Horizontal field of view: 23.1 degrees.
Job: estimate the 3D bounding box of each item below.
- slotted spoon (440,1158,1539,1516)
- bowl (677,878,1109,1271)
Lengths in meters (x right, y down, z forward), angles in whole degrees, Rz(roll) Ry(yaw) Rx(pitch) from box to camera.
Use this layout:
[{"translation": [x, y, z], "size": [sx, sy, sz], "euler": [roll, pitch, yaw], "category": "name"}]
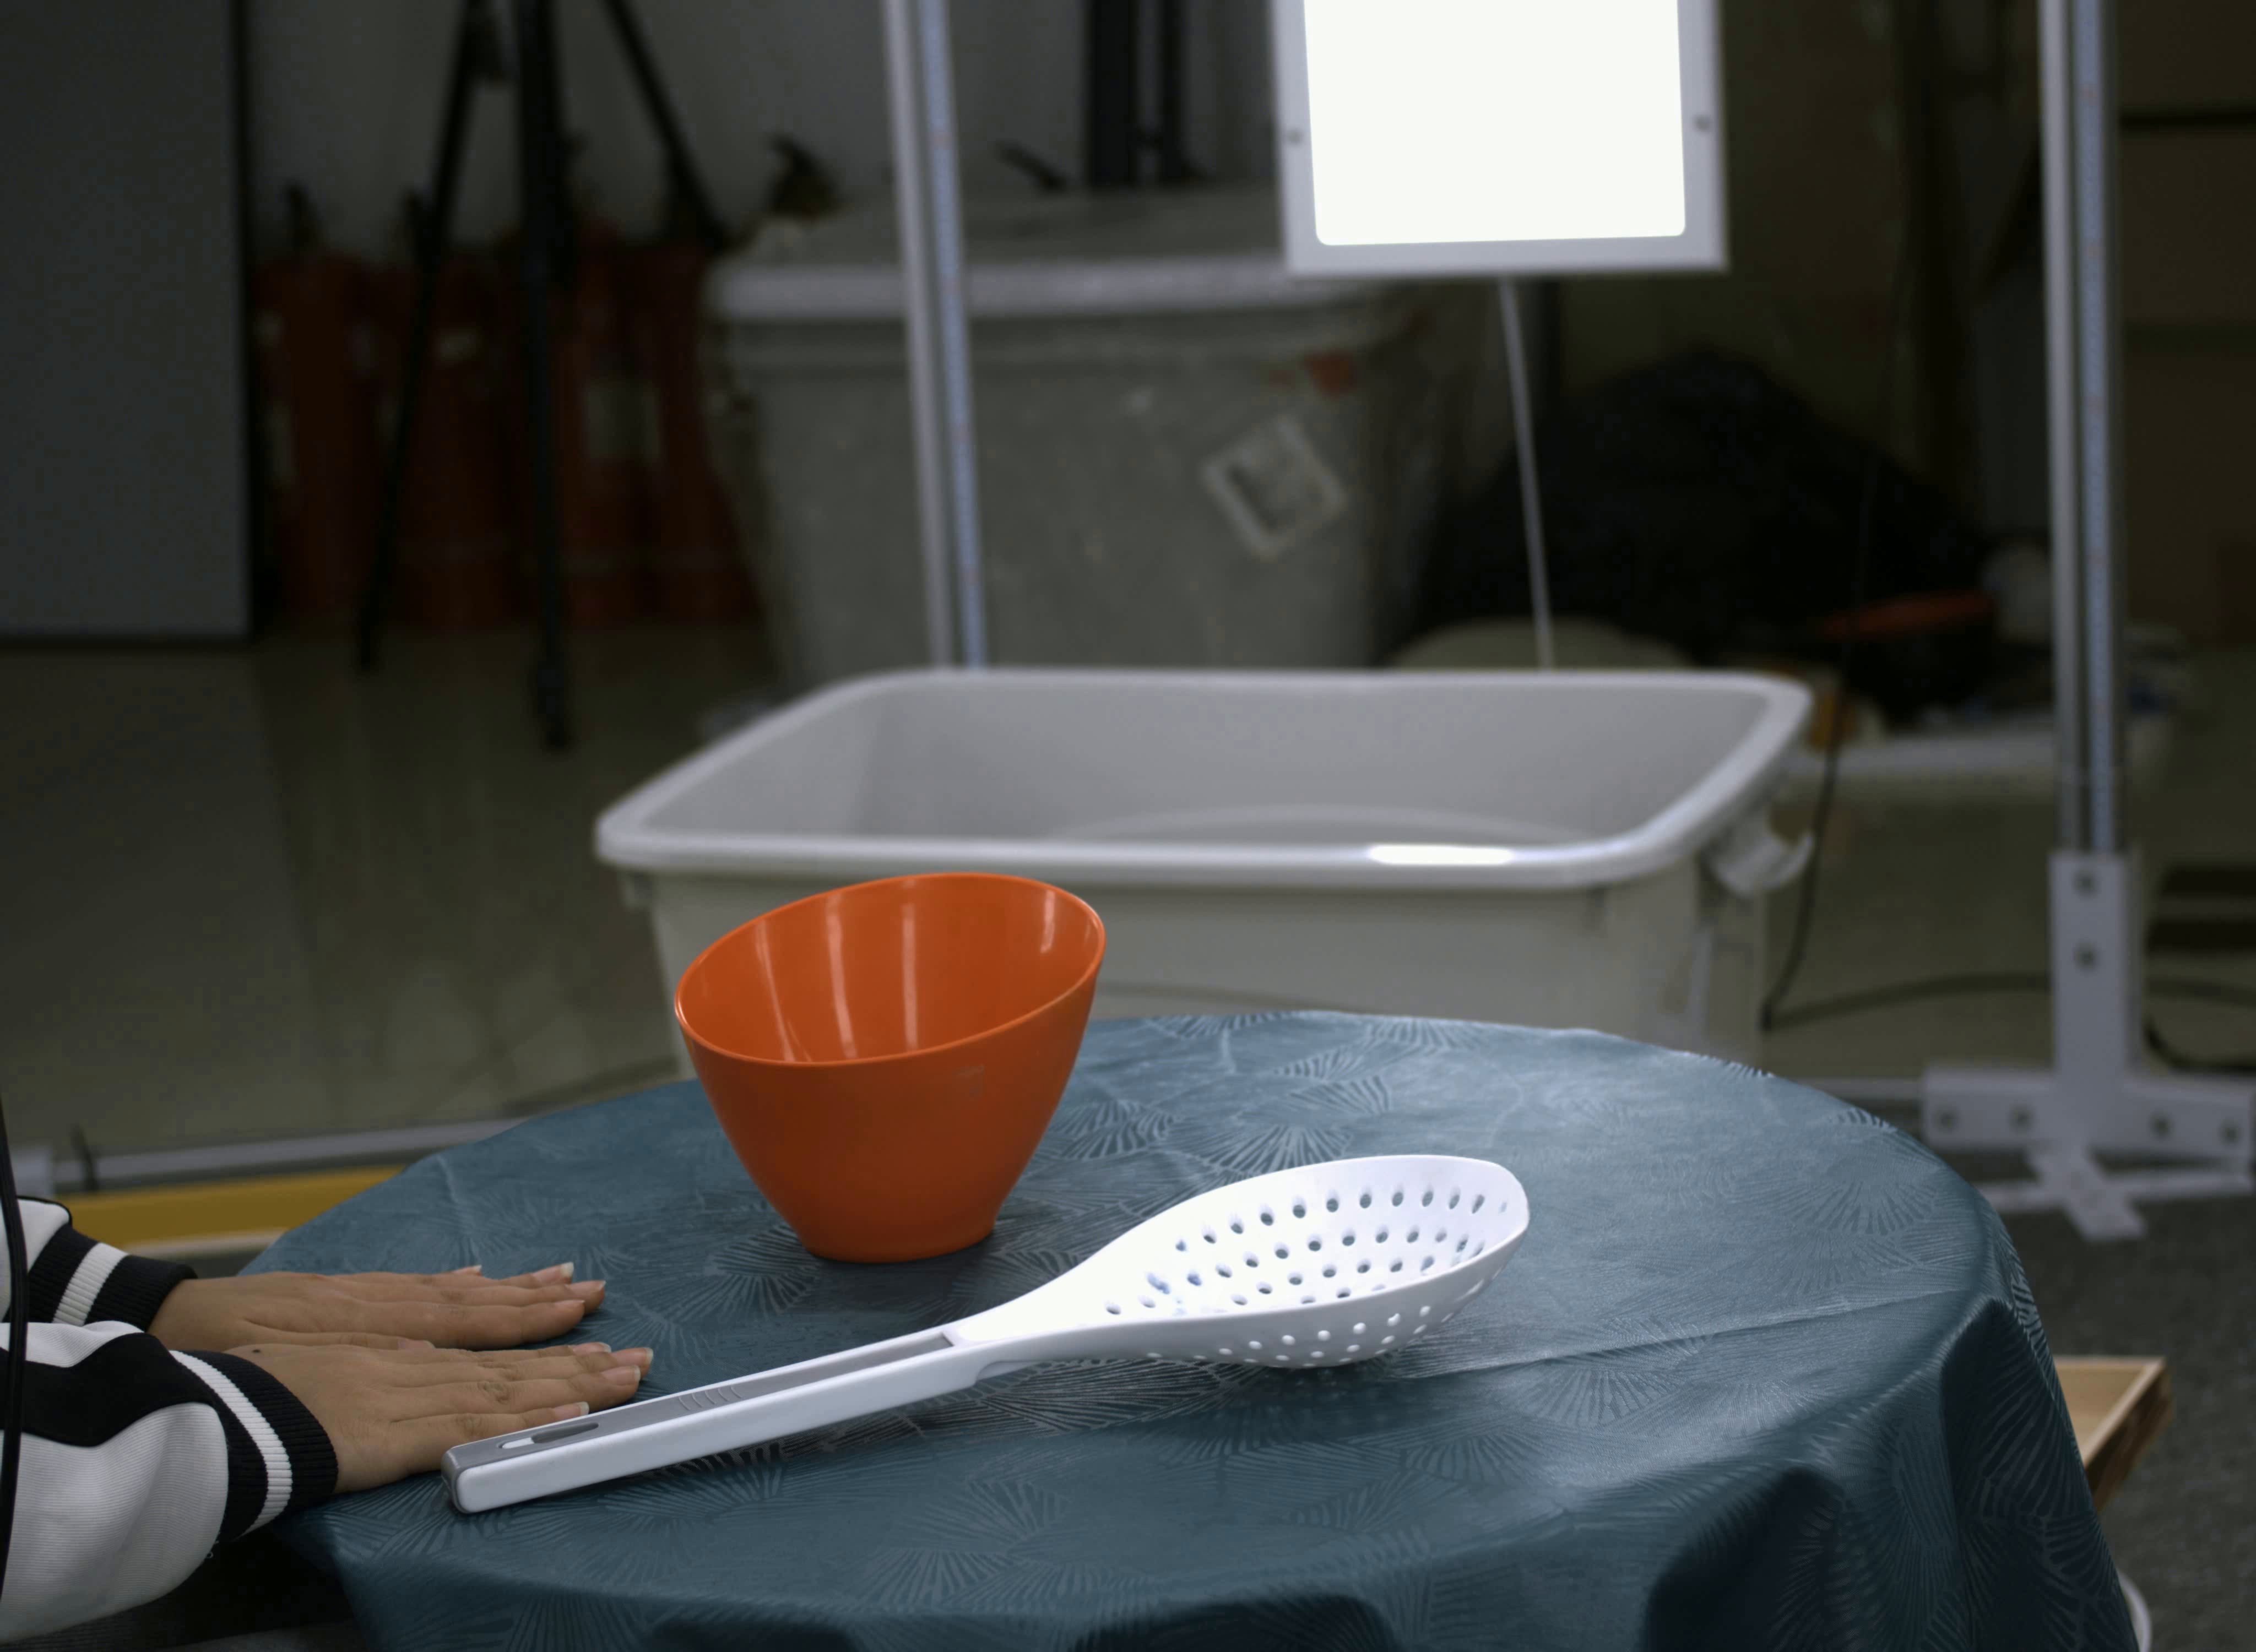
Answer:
[{"translation": [-0.039, 0.158, 1.690], "size": [0.345, 0.046, 0.137], "euler": [-9, 13, -13], "category": "slotted spoon"}, {"translation": [-0.077, 0.088, 1.874], "size": [0.147, 0.105, 0.148], "euler": [-4, 16, 0], "category": "bowl"}]
